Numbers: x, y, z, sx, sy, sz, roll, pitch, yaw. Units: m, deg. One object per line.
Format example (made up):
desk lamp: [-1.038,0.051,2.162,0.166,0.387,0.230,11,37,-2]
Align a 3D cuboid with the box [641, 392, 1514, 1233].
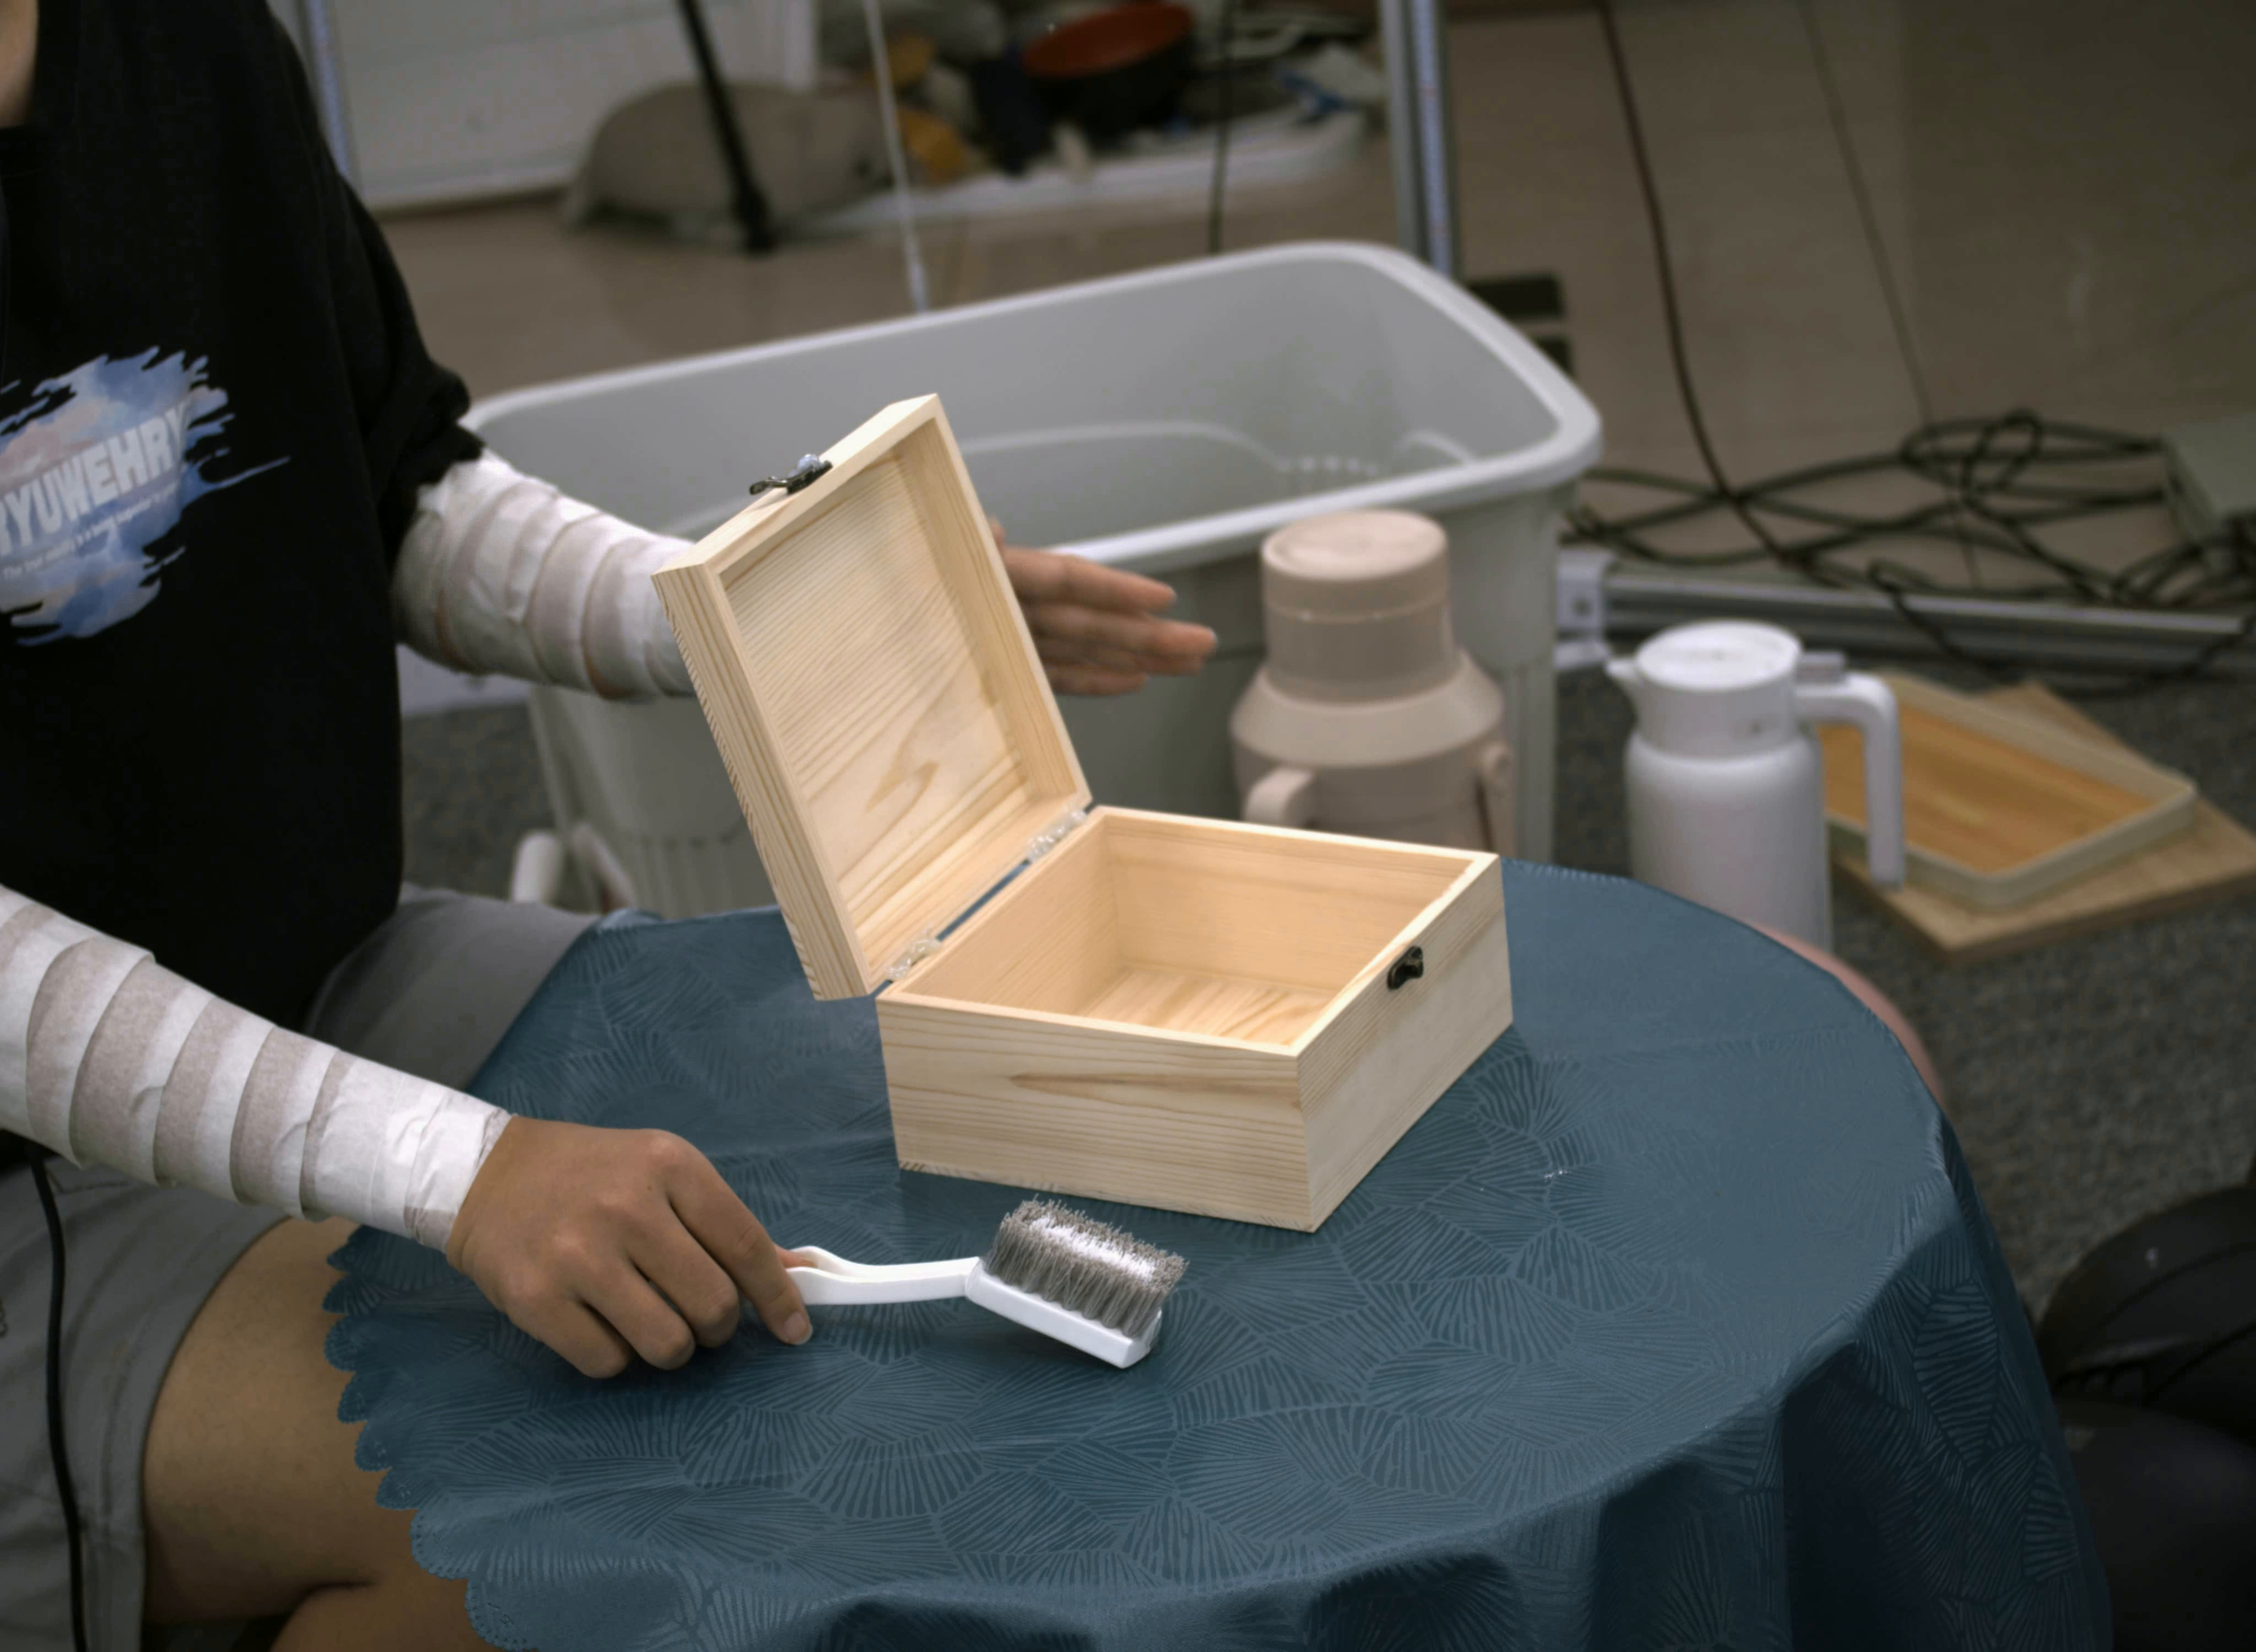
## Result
box: [-0.011,-0.010,2.174,0.264,0.257,0.179,7,30,27]

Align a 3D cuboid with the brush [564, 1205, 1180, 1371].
brush: [-0.097,0.154,2.065,0.243,0.051,0.034,8,25,21]
